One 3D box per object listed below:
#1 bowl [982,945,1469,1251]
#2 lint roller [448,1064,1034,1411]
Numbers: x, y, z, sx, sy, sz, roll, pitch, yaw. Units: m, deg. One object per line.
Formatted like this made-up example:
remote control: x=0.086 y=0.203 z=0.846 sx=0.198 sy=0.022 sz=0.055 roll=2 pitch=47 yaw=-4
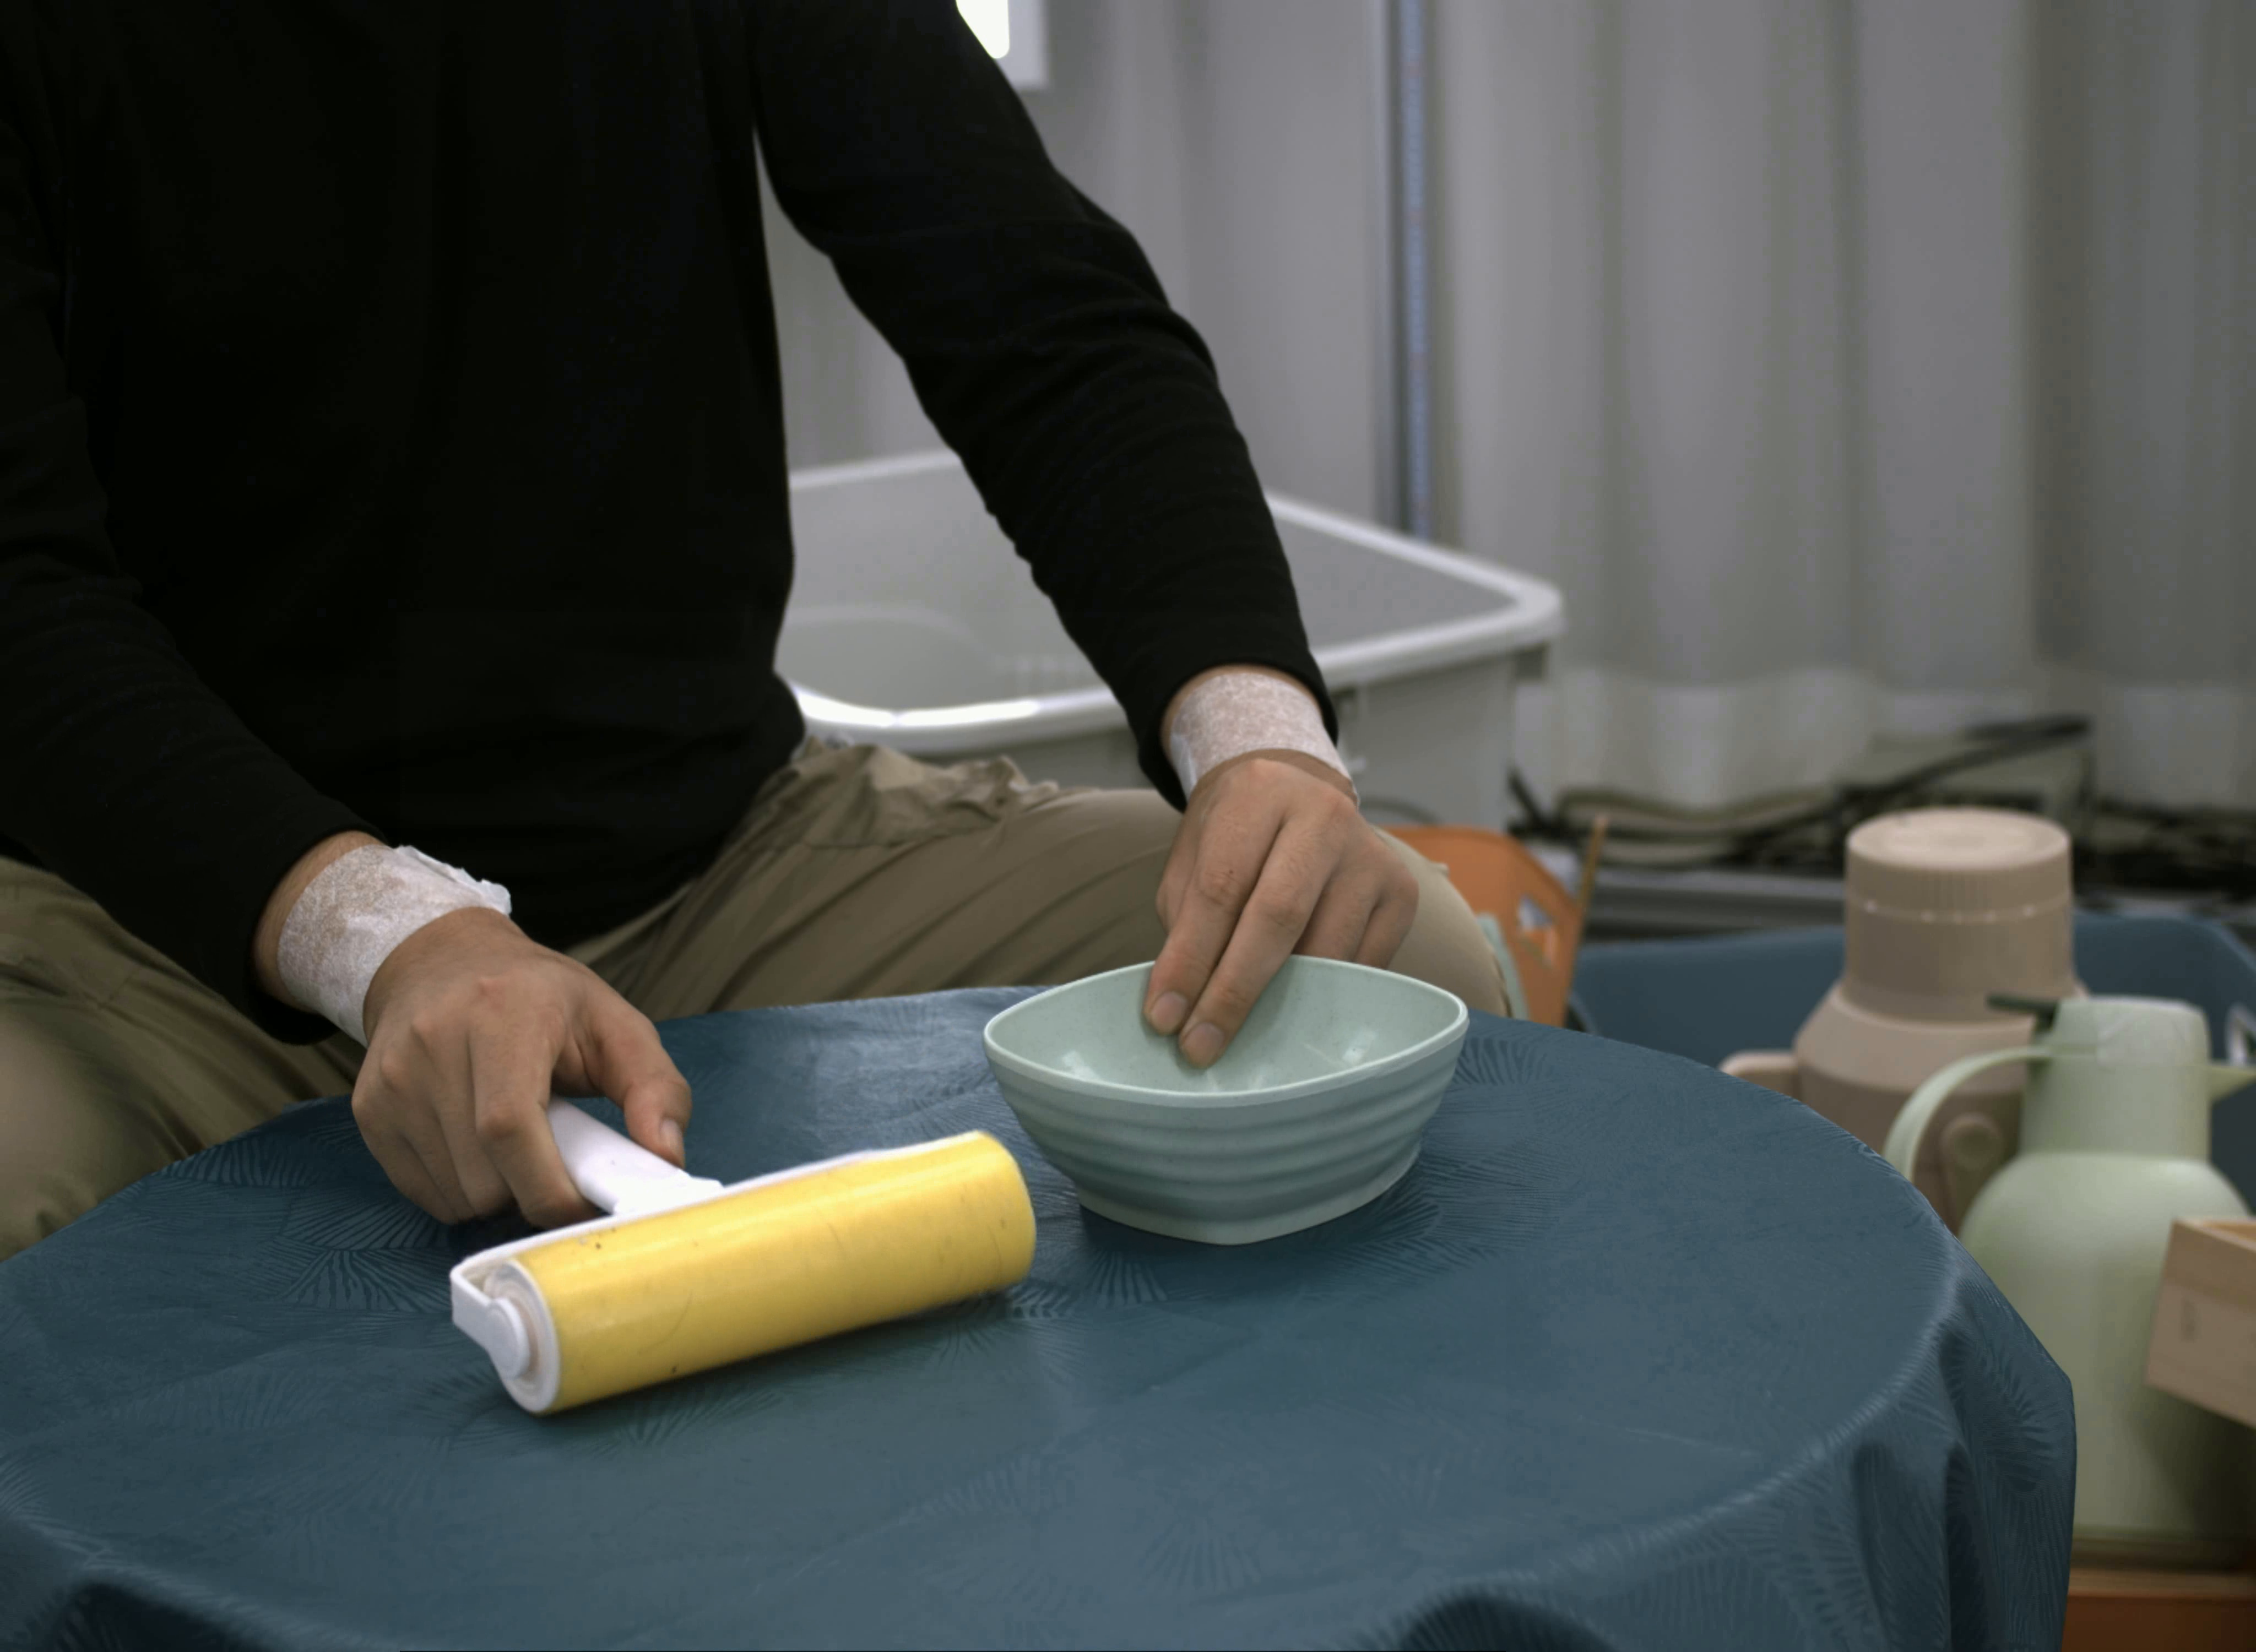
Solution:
bowl: x=0.031 y=0.088 z=1.700 sx=0.151 sy=0.058 sz=0.152 roll=-2 pitch=16 yaw=0
lint roller: x=-0.148 y=0.100 z=1.637 sx=0.174 sy=0.051 sz=0.194 roll=-14 pitch=32 yaw=-33
